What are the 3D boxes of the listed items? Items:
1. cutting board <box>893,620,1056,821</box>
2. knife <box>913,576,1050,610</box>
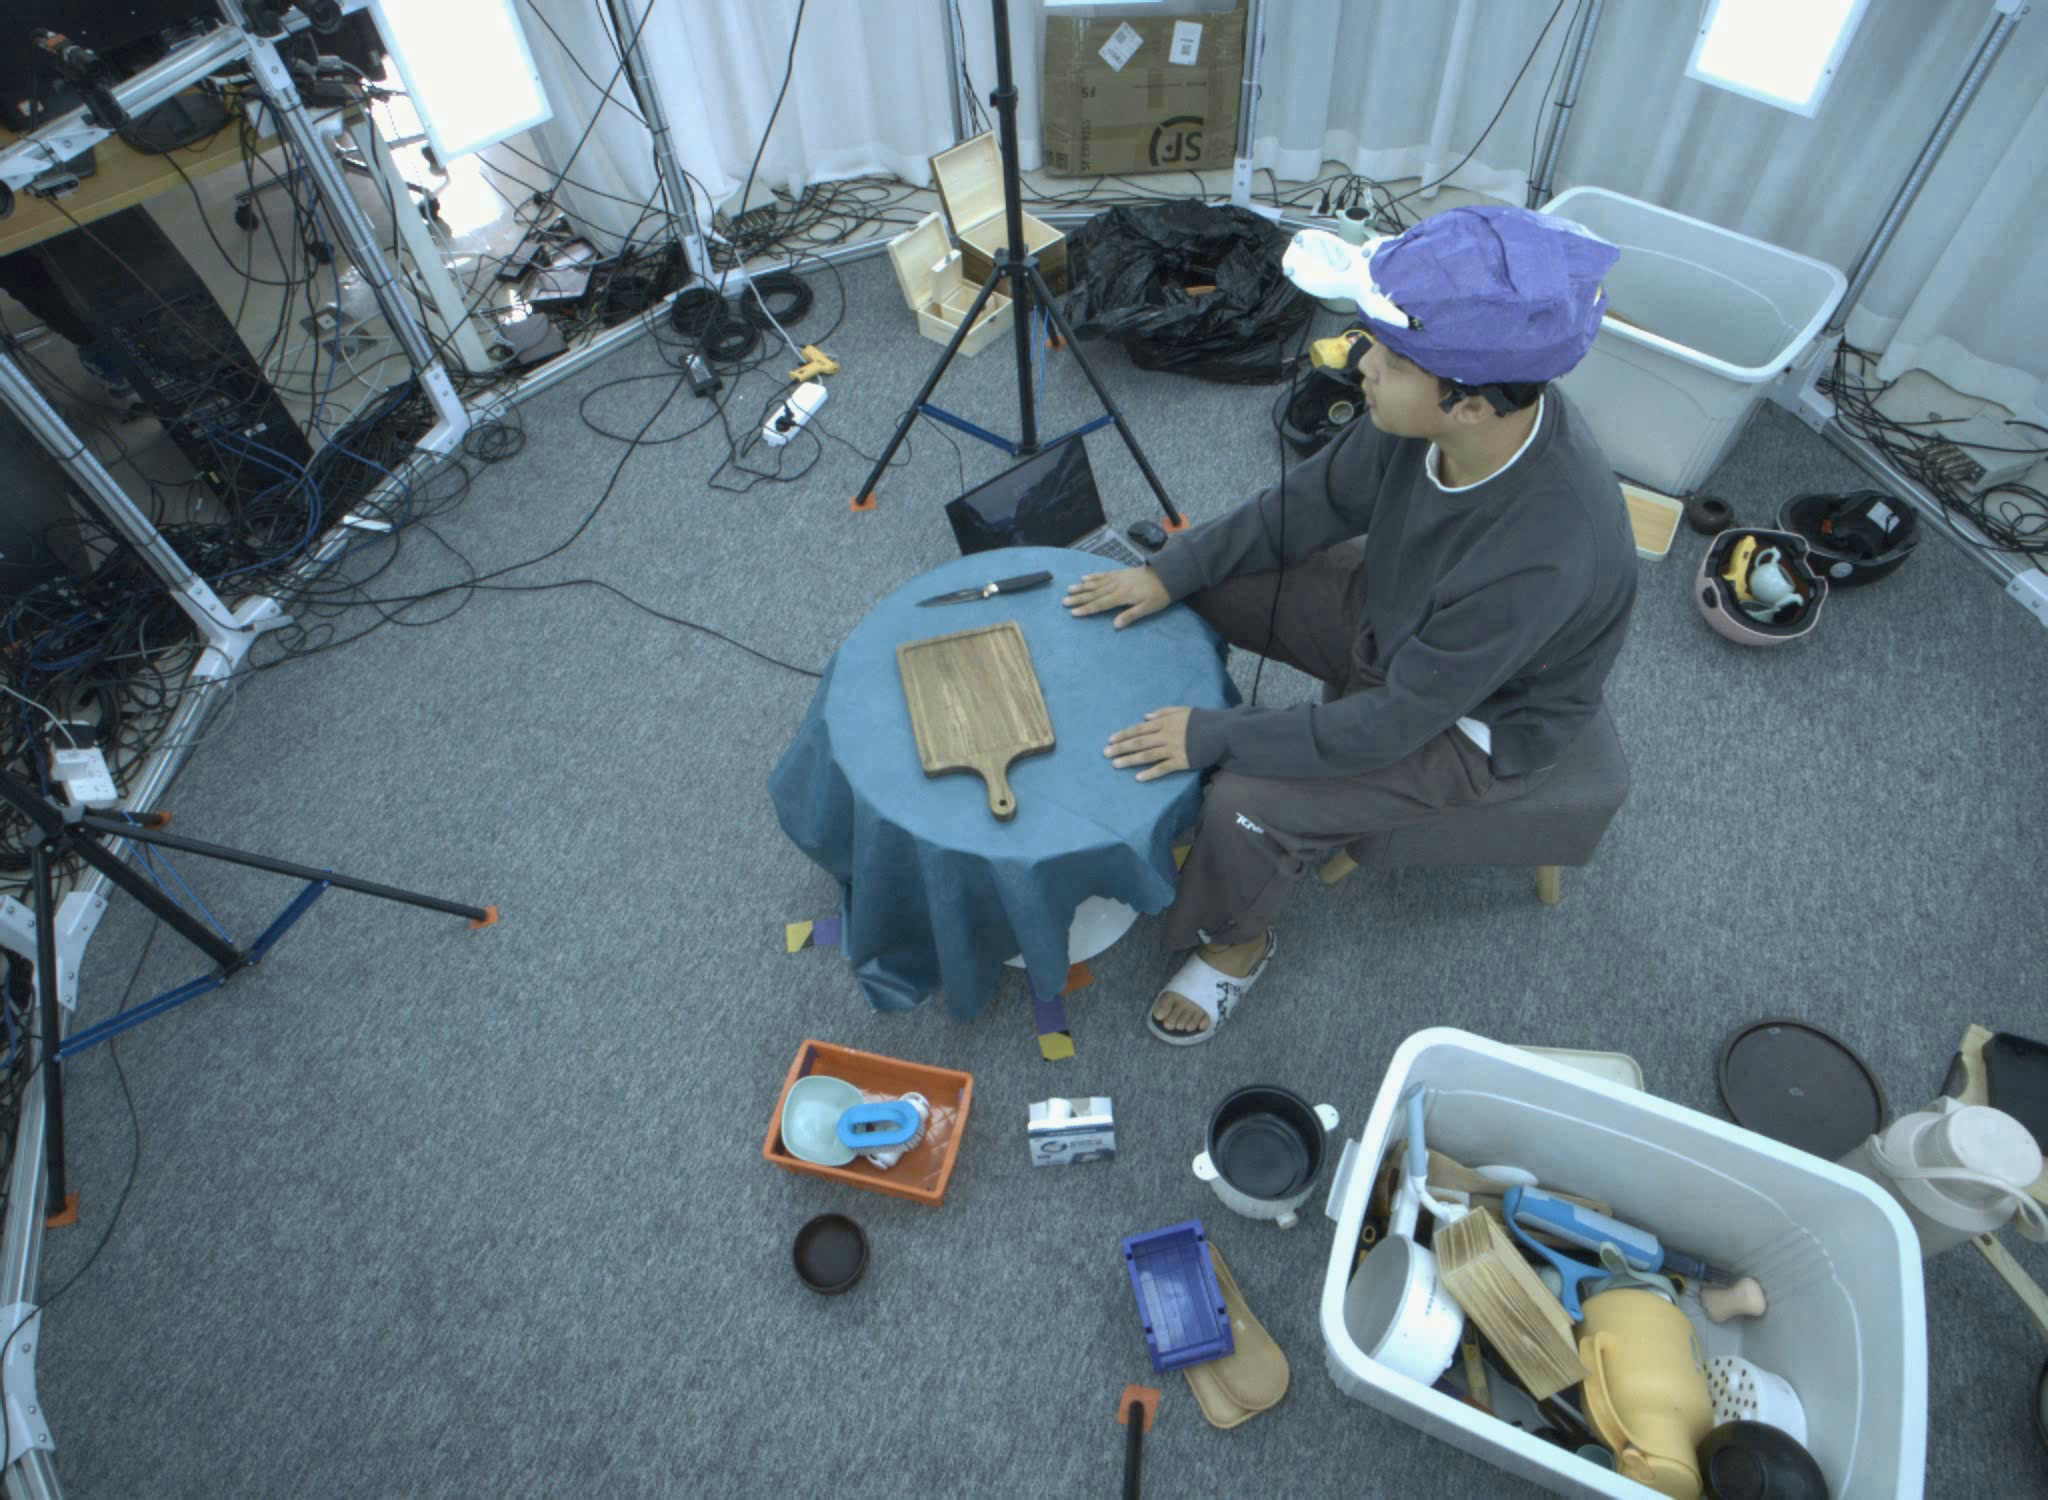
[{"bbox_3d":[-0.066,-0.043,1.807,0.202,0.023,0.346,-12,56,-7],"label":"cutting board"},{"bbox_3d":[-0.069,-0.251,1.960,0.226,0.017,0.026,-11,61,-5],"label":"knife"}]
